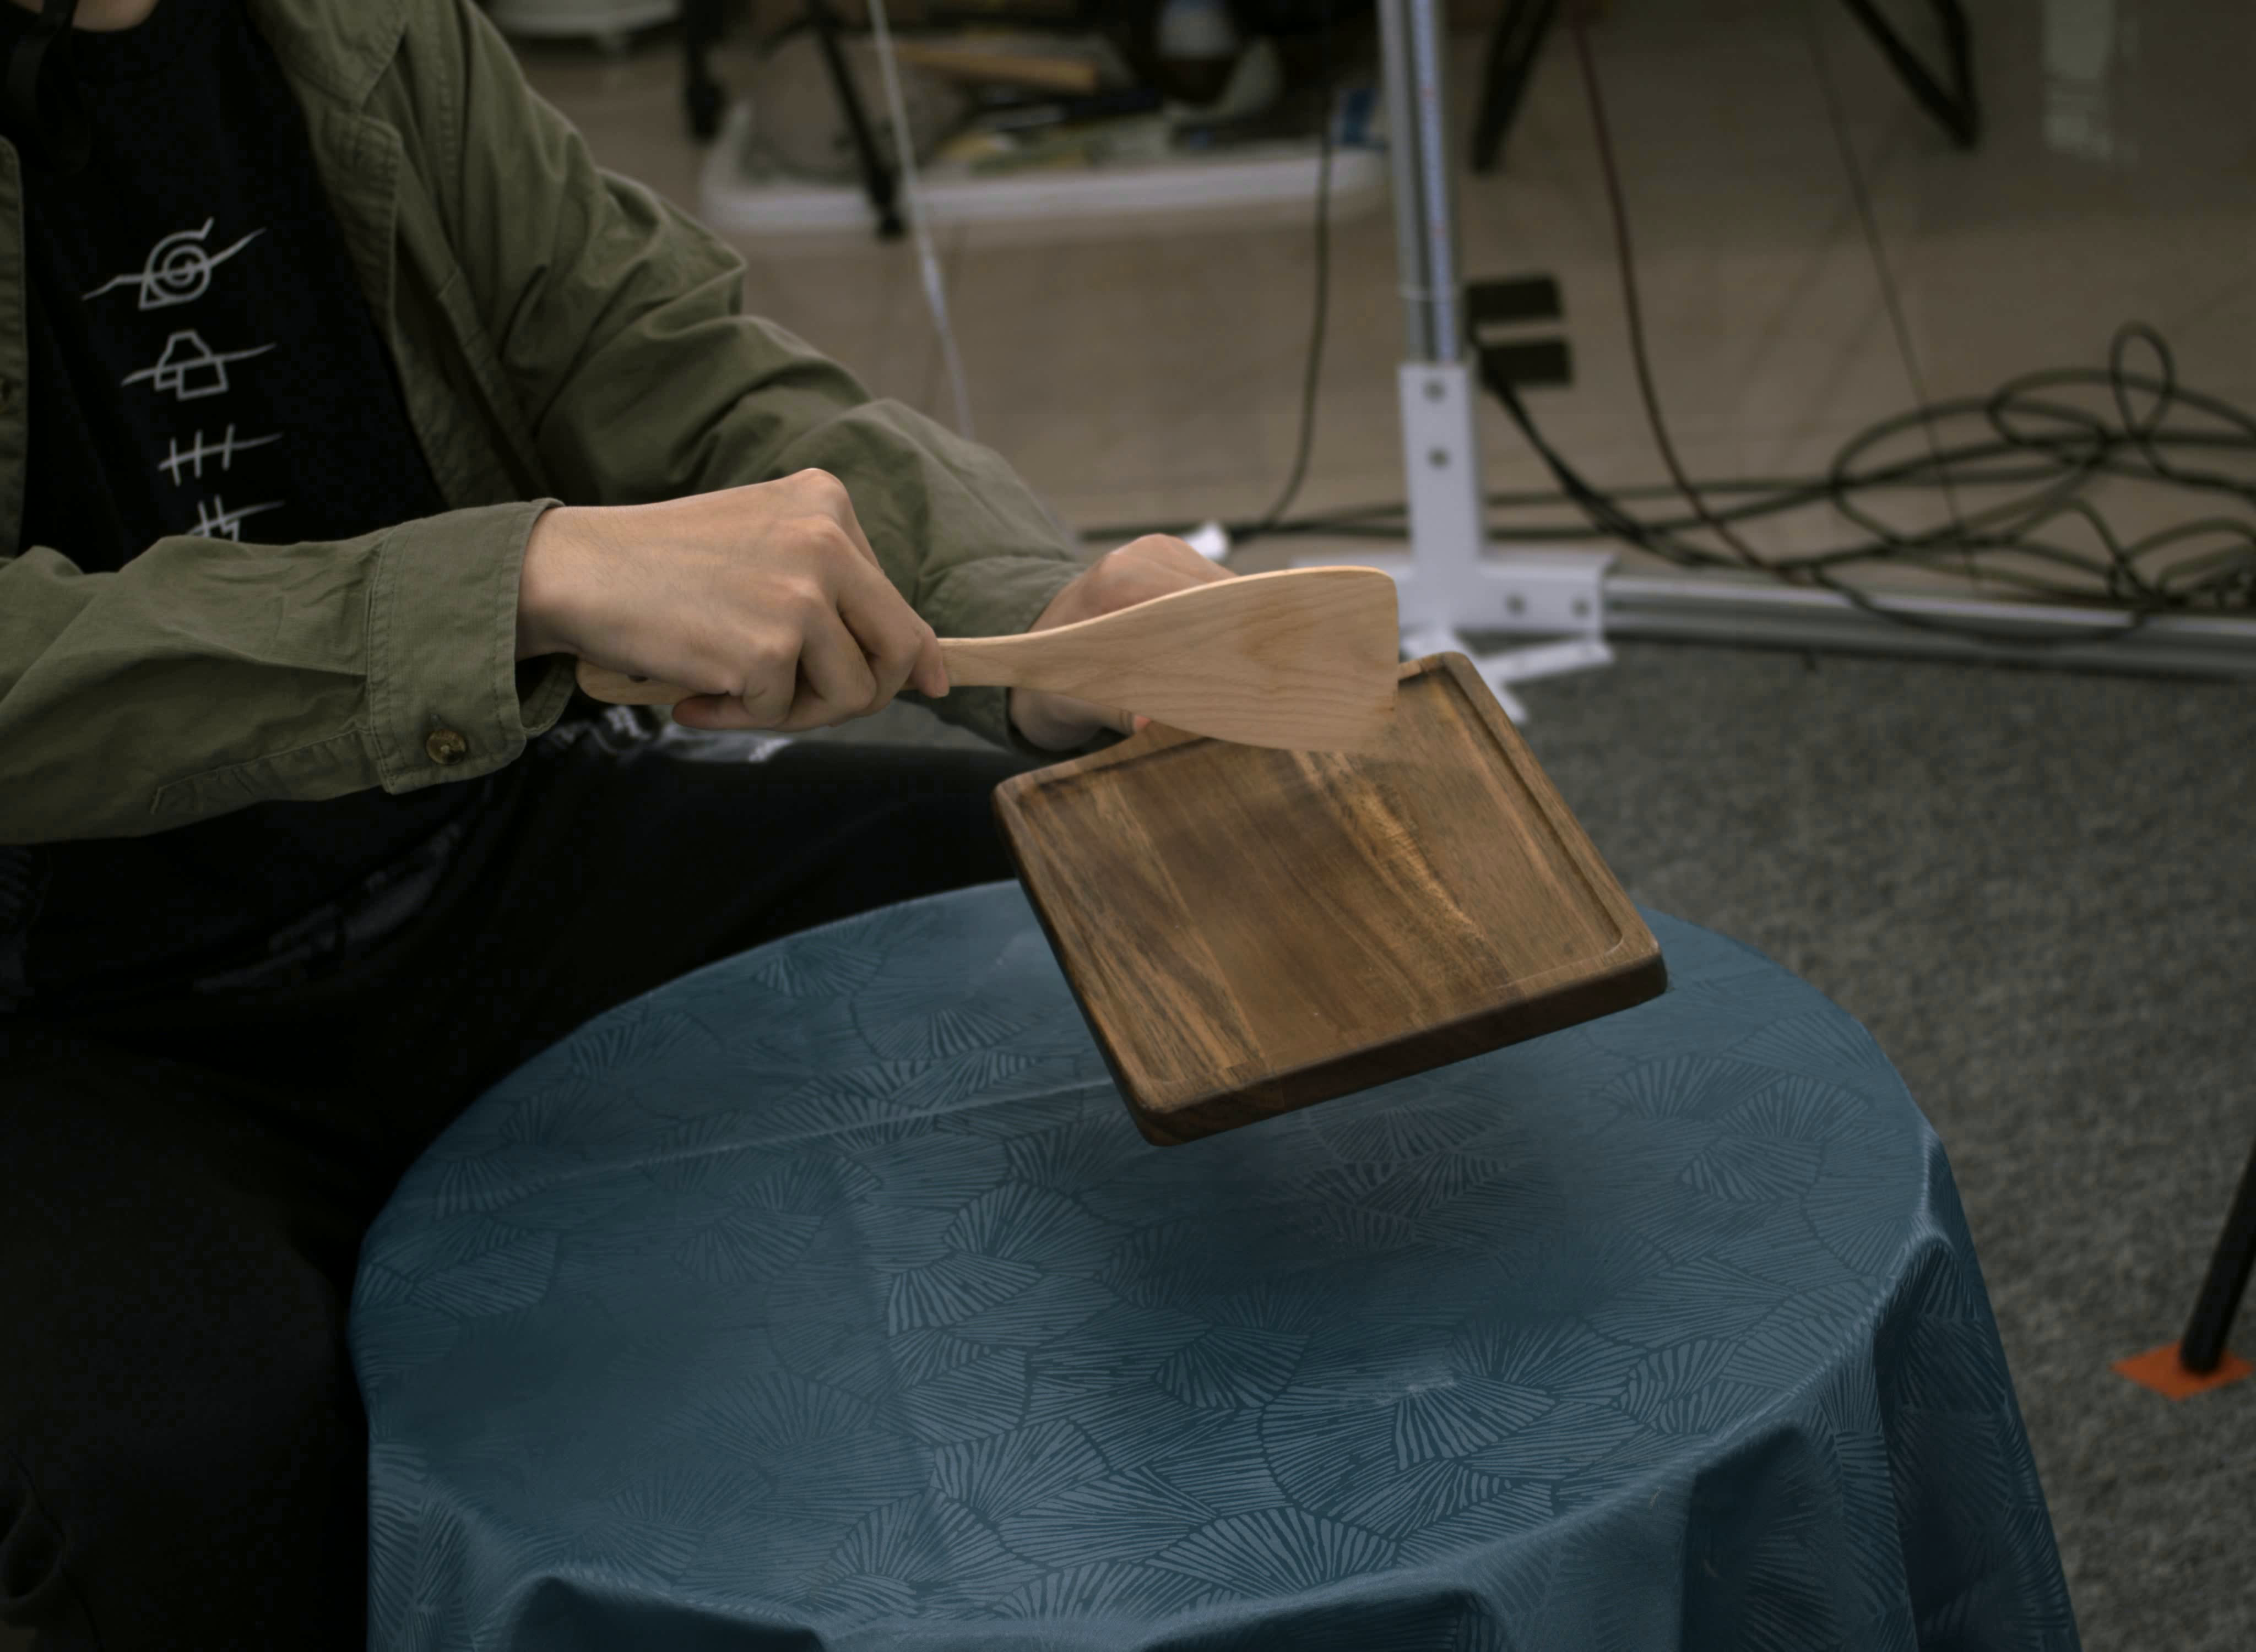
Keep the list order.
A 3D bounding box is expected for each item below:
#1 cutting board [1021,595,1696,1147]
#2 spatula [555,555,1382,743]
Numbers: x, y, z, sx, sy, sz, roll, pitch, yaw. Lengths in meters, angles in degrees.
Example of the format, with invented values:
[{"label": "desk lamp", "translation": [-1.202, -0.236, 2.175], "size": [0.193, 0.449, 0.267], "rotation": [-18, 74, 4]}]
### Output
[{"label": "cutting board", "translation": [0.070, -0.003, 2.145], "size": [0.200, 0.023, 0.346], "rotation": [-16, 32, -5]}, {"label": "spatula", "translation": [-0.052, -0.060, 2.075], "size": [0.327, 0.081, 0.016], "rotation": [-3, 33, -24]}]
